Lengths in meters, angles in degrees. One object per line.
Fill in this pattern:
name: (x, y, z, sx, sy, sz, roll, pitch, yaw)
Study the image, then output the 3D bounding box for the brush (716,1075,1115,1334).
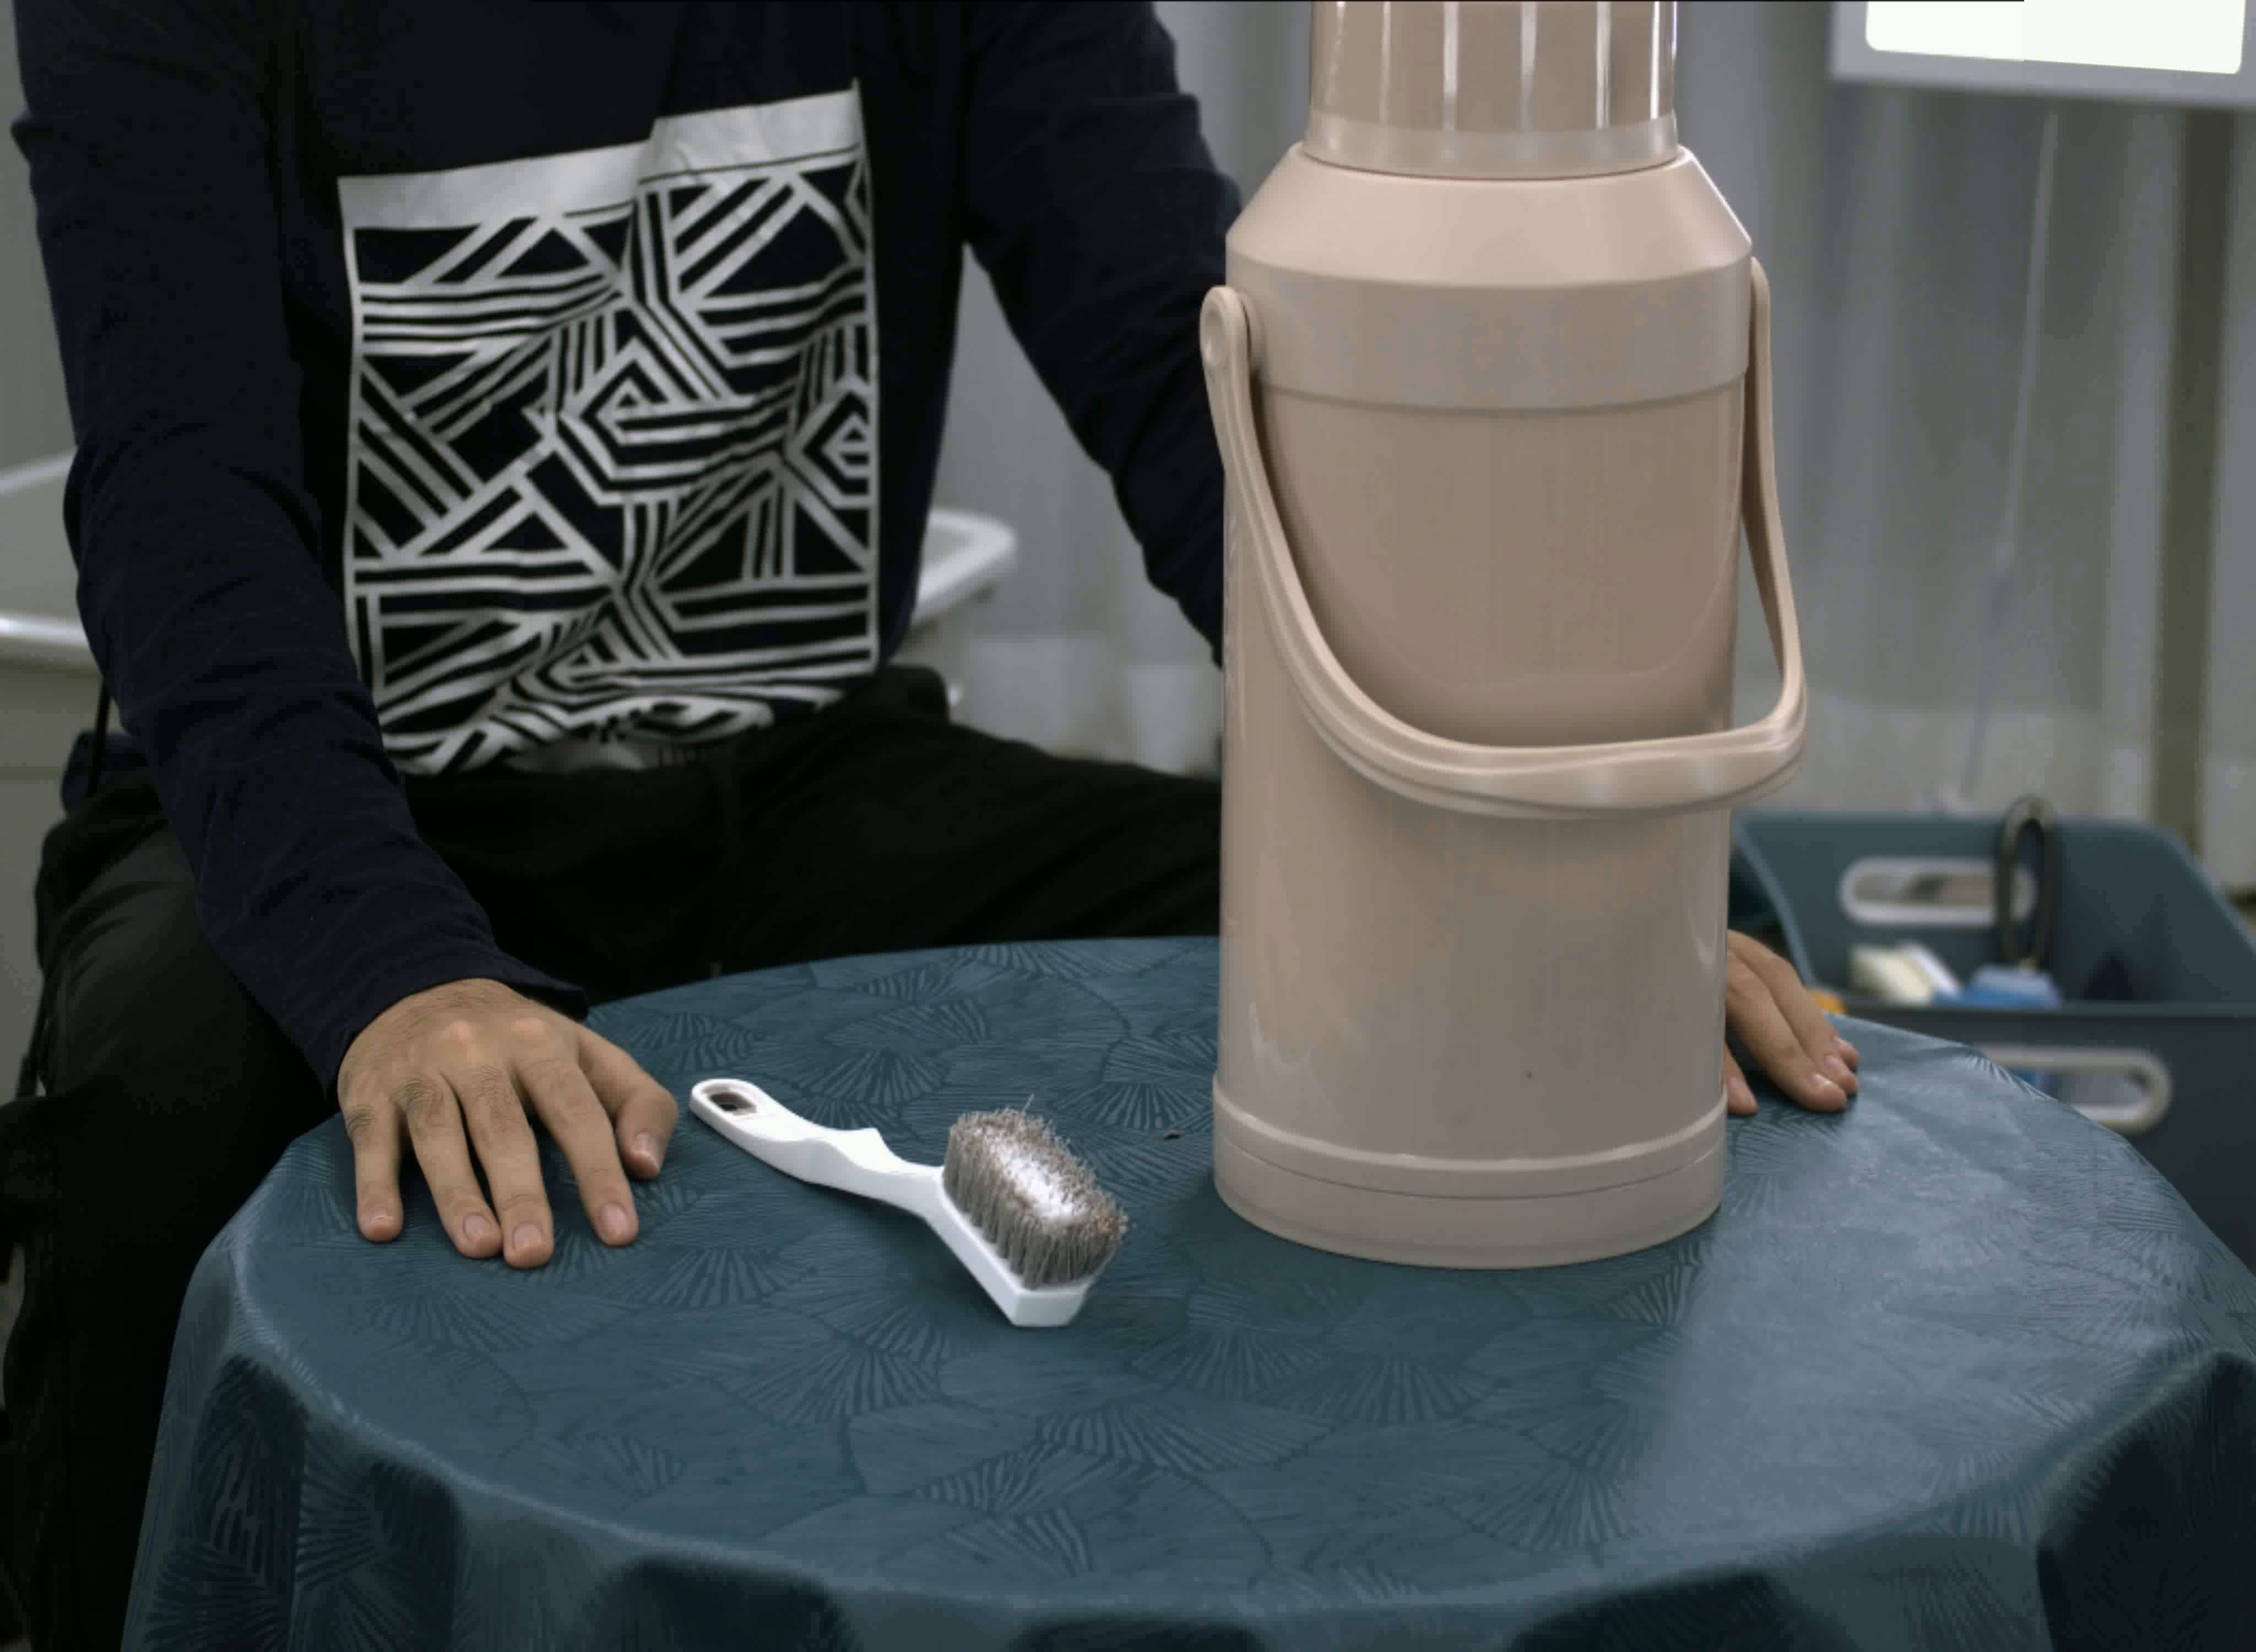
brush: (-0.071, 0.095, 1.596, 0.034, 0.051, 0.240, -13, 20, -25)

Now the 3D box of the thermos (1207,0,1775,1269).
thermos: (0.105, -0.084, 1.593, 0.176, 0.410, 0.204, -8, 18, -21)
